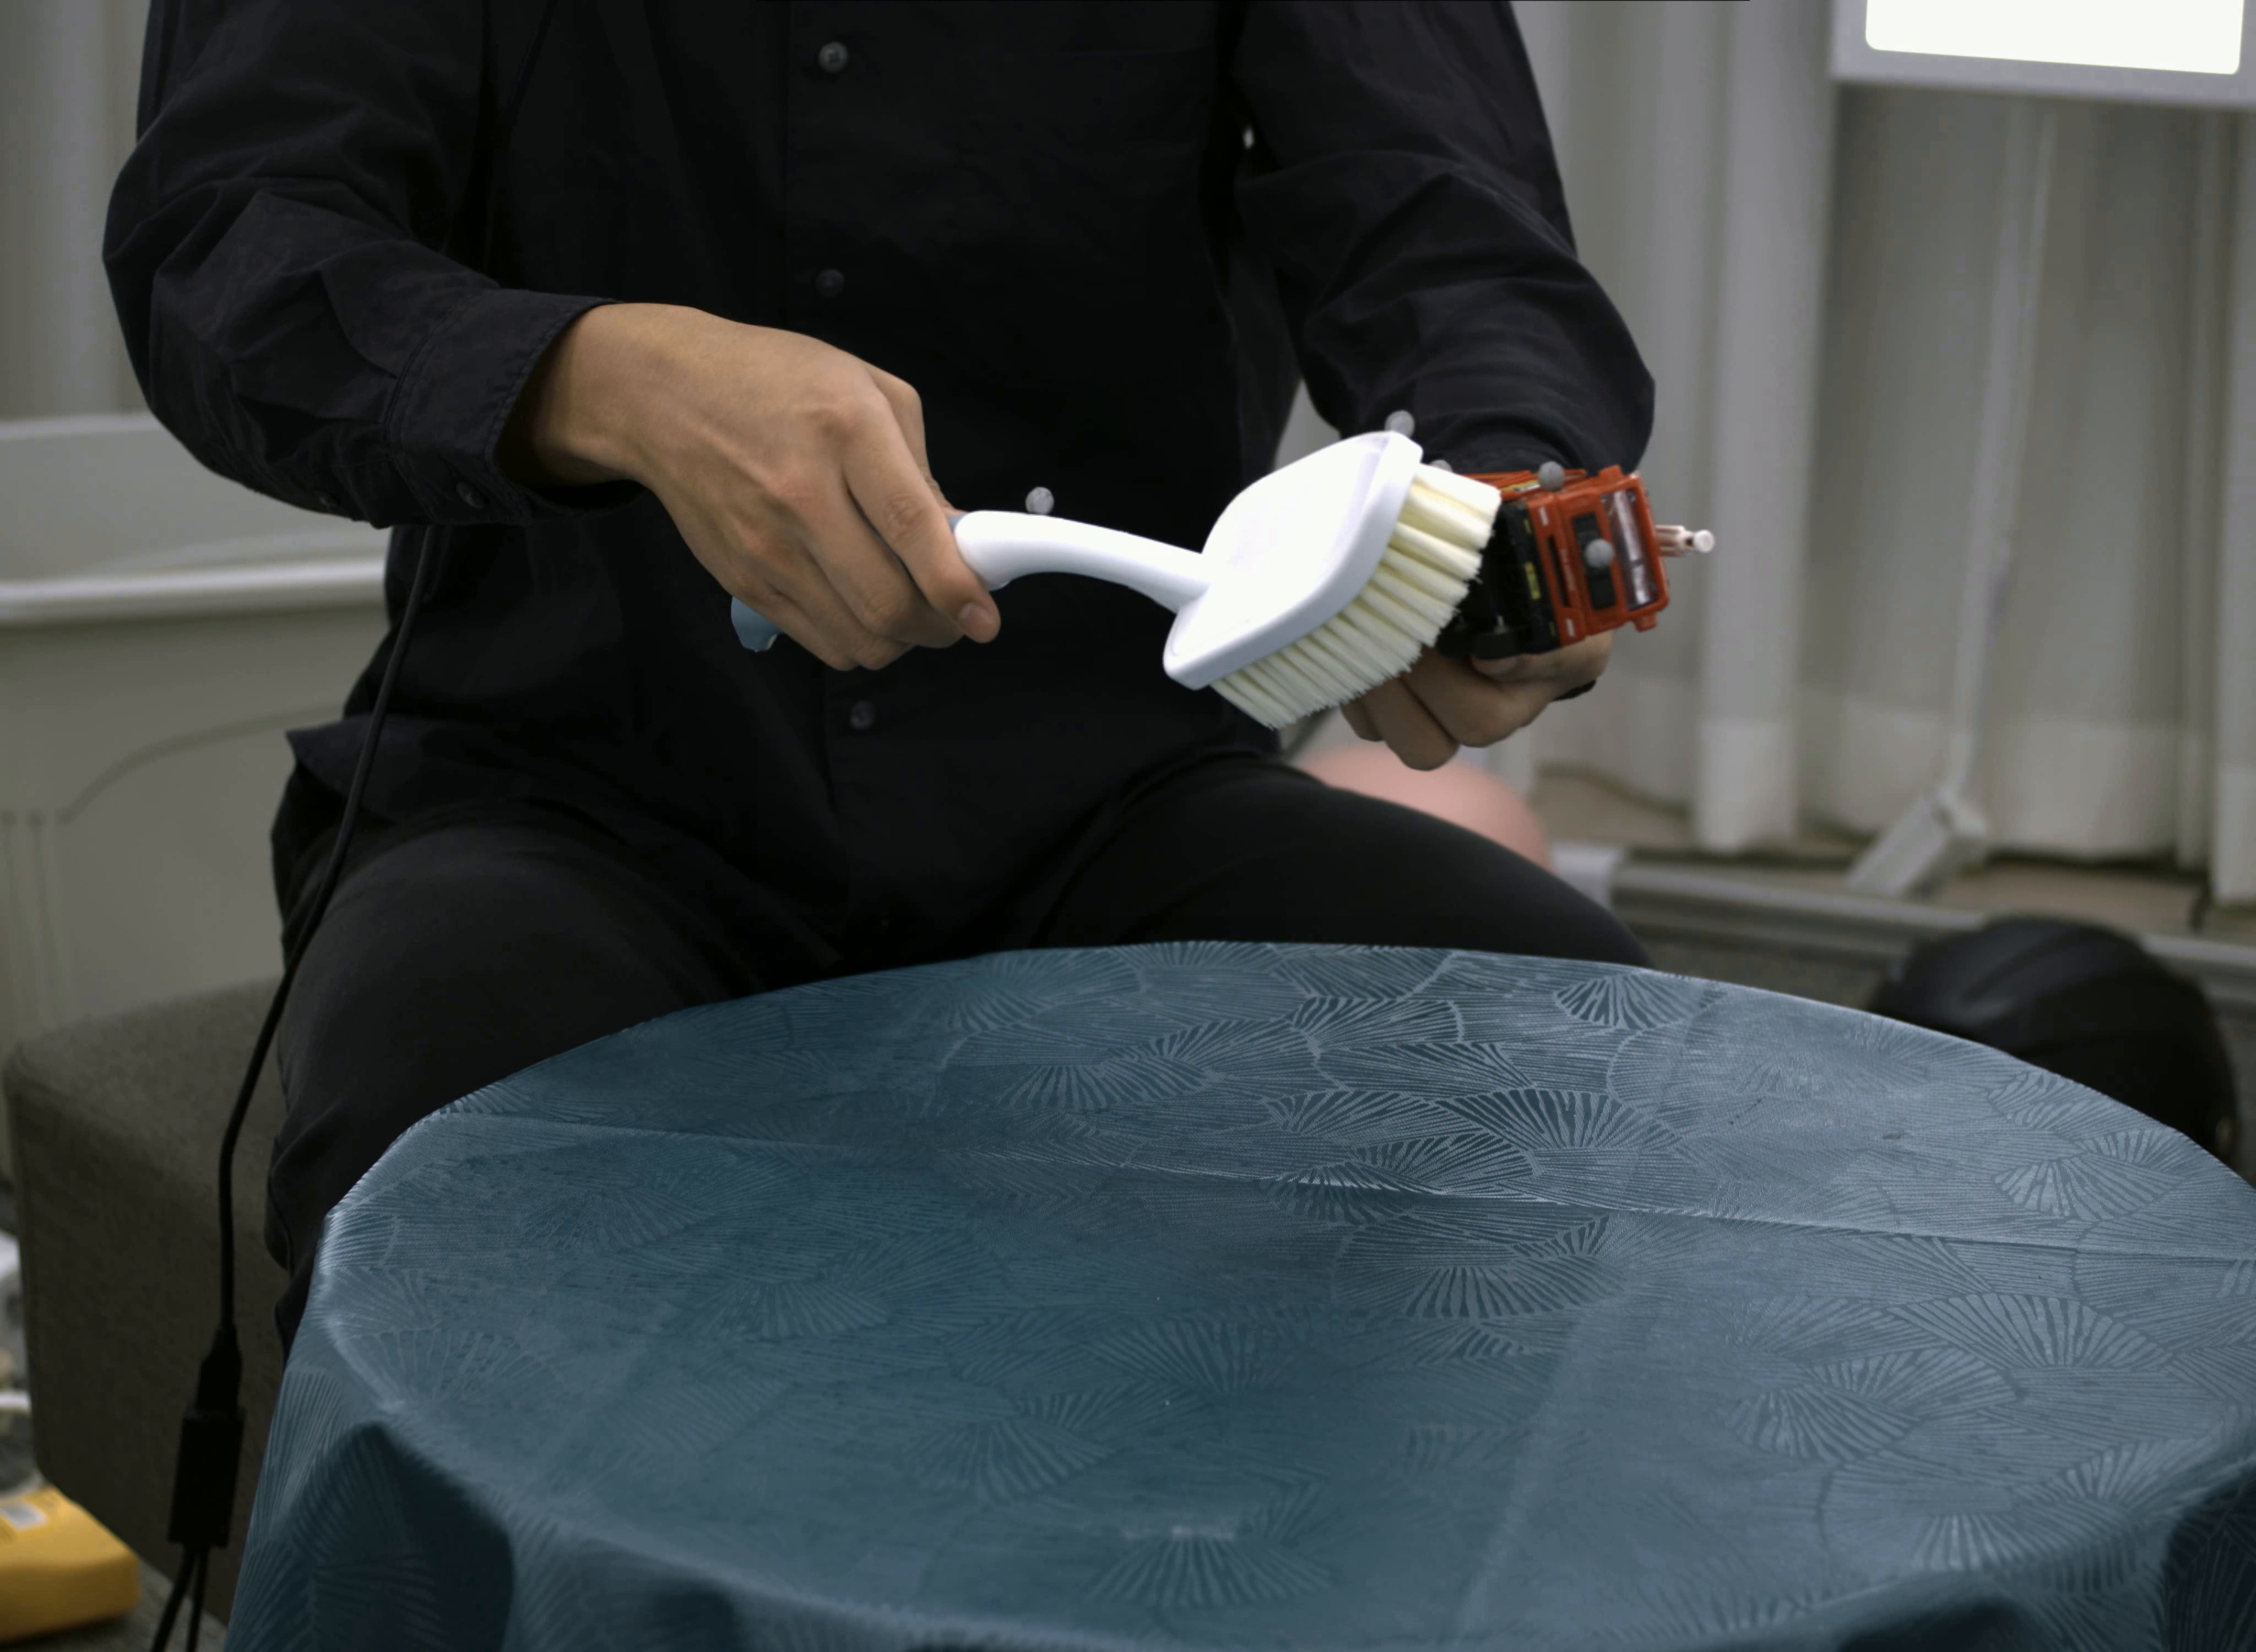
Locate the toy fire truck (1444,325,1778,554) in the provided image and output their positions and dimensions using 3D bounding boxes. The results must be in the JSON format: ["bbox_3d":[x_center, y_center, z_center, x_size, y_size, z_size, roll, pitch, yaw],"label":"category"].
[{"bbox_3d":[0.127,-0.115,1.569,0.070,0.054,0.166,-18,9,-19],"label":"toy fire truck"}]

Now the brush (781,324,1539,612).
[{"bbox_3d":[0.016,-0.103,1.621,0.083,0.085,0.322,-32,16,-37],"label":"brush"}]
